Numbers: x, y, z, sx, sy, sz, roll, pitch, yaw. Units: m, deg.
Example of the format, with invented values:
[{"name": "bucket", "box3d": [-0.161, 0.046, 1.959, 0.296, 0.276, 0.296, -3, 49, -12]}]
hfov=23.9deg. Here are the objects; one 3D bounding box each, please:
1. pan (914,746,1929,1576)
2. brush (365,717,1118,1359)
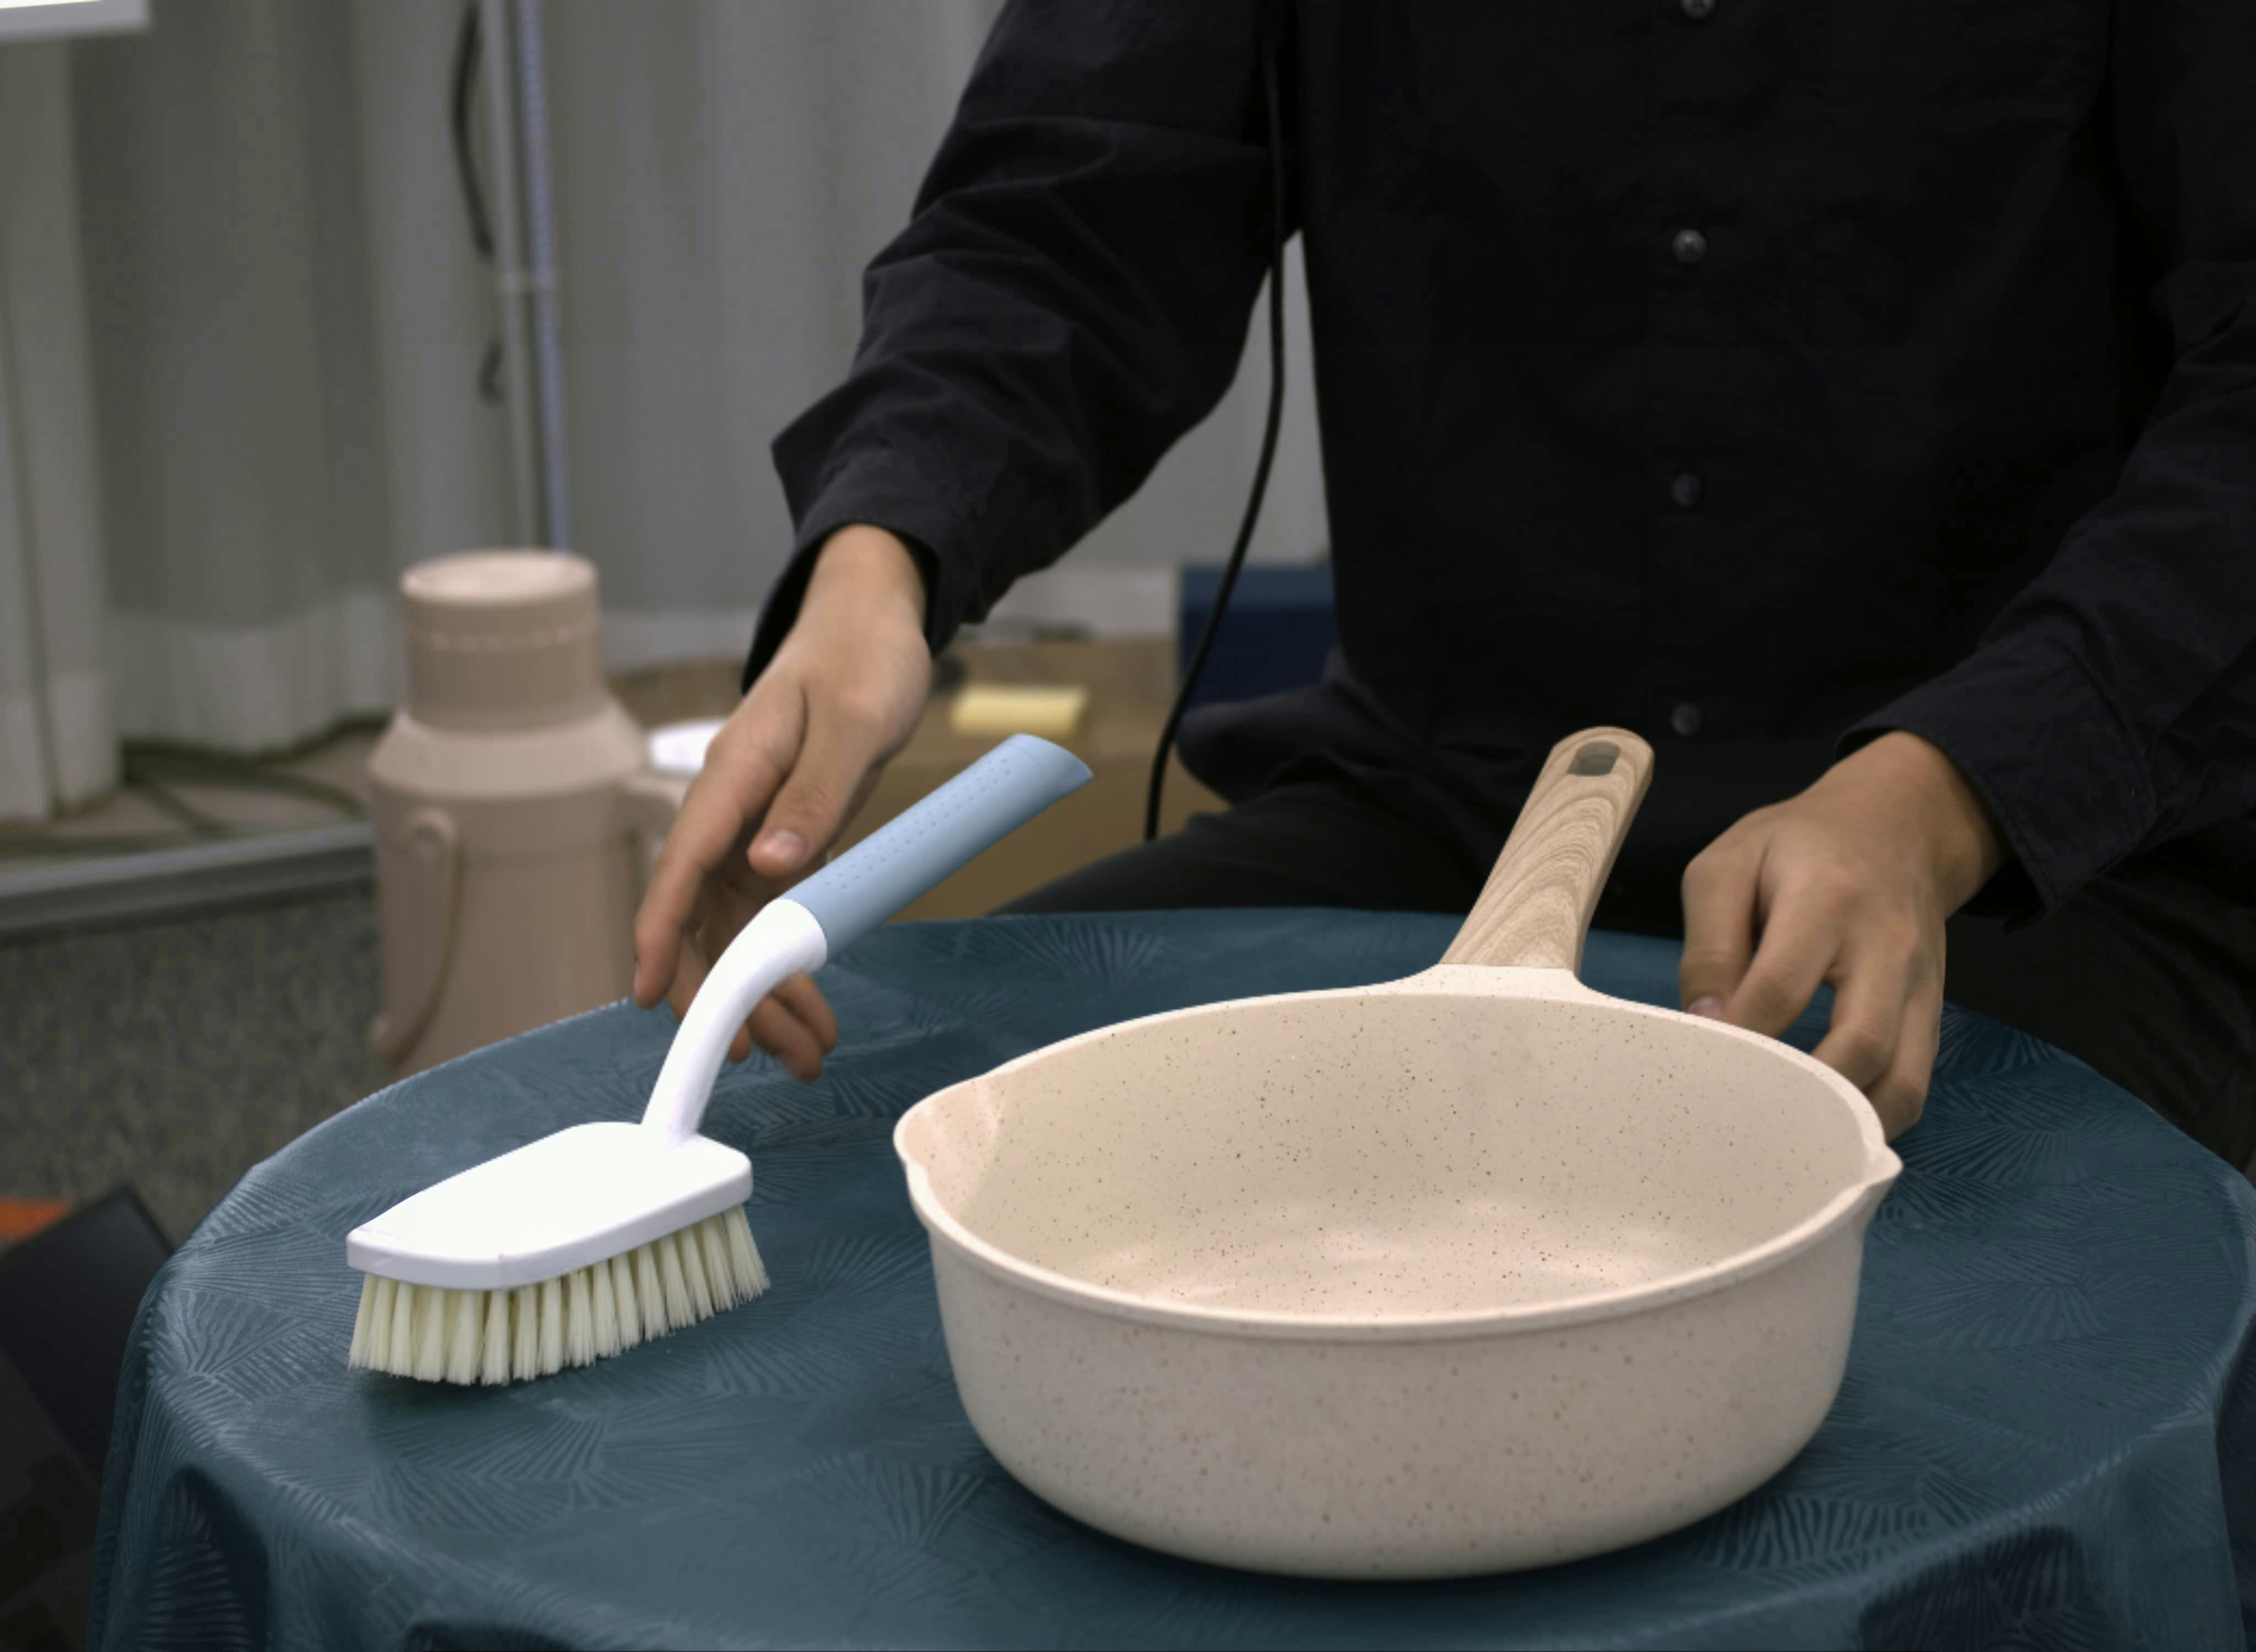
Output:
[{"name": "pan", "box3d": [0.097, 0.085, 1.449, 0.265, 0.102, 0.431, 1, 17, 15]}, {"name": "brush", "box3d": [-0.097, 0.075, 1.545, 0.084, 0.085, 0.320, 42, 47, 14]}]
